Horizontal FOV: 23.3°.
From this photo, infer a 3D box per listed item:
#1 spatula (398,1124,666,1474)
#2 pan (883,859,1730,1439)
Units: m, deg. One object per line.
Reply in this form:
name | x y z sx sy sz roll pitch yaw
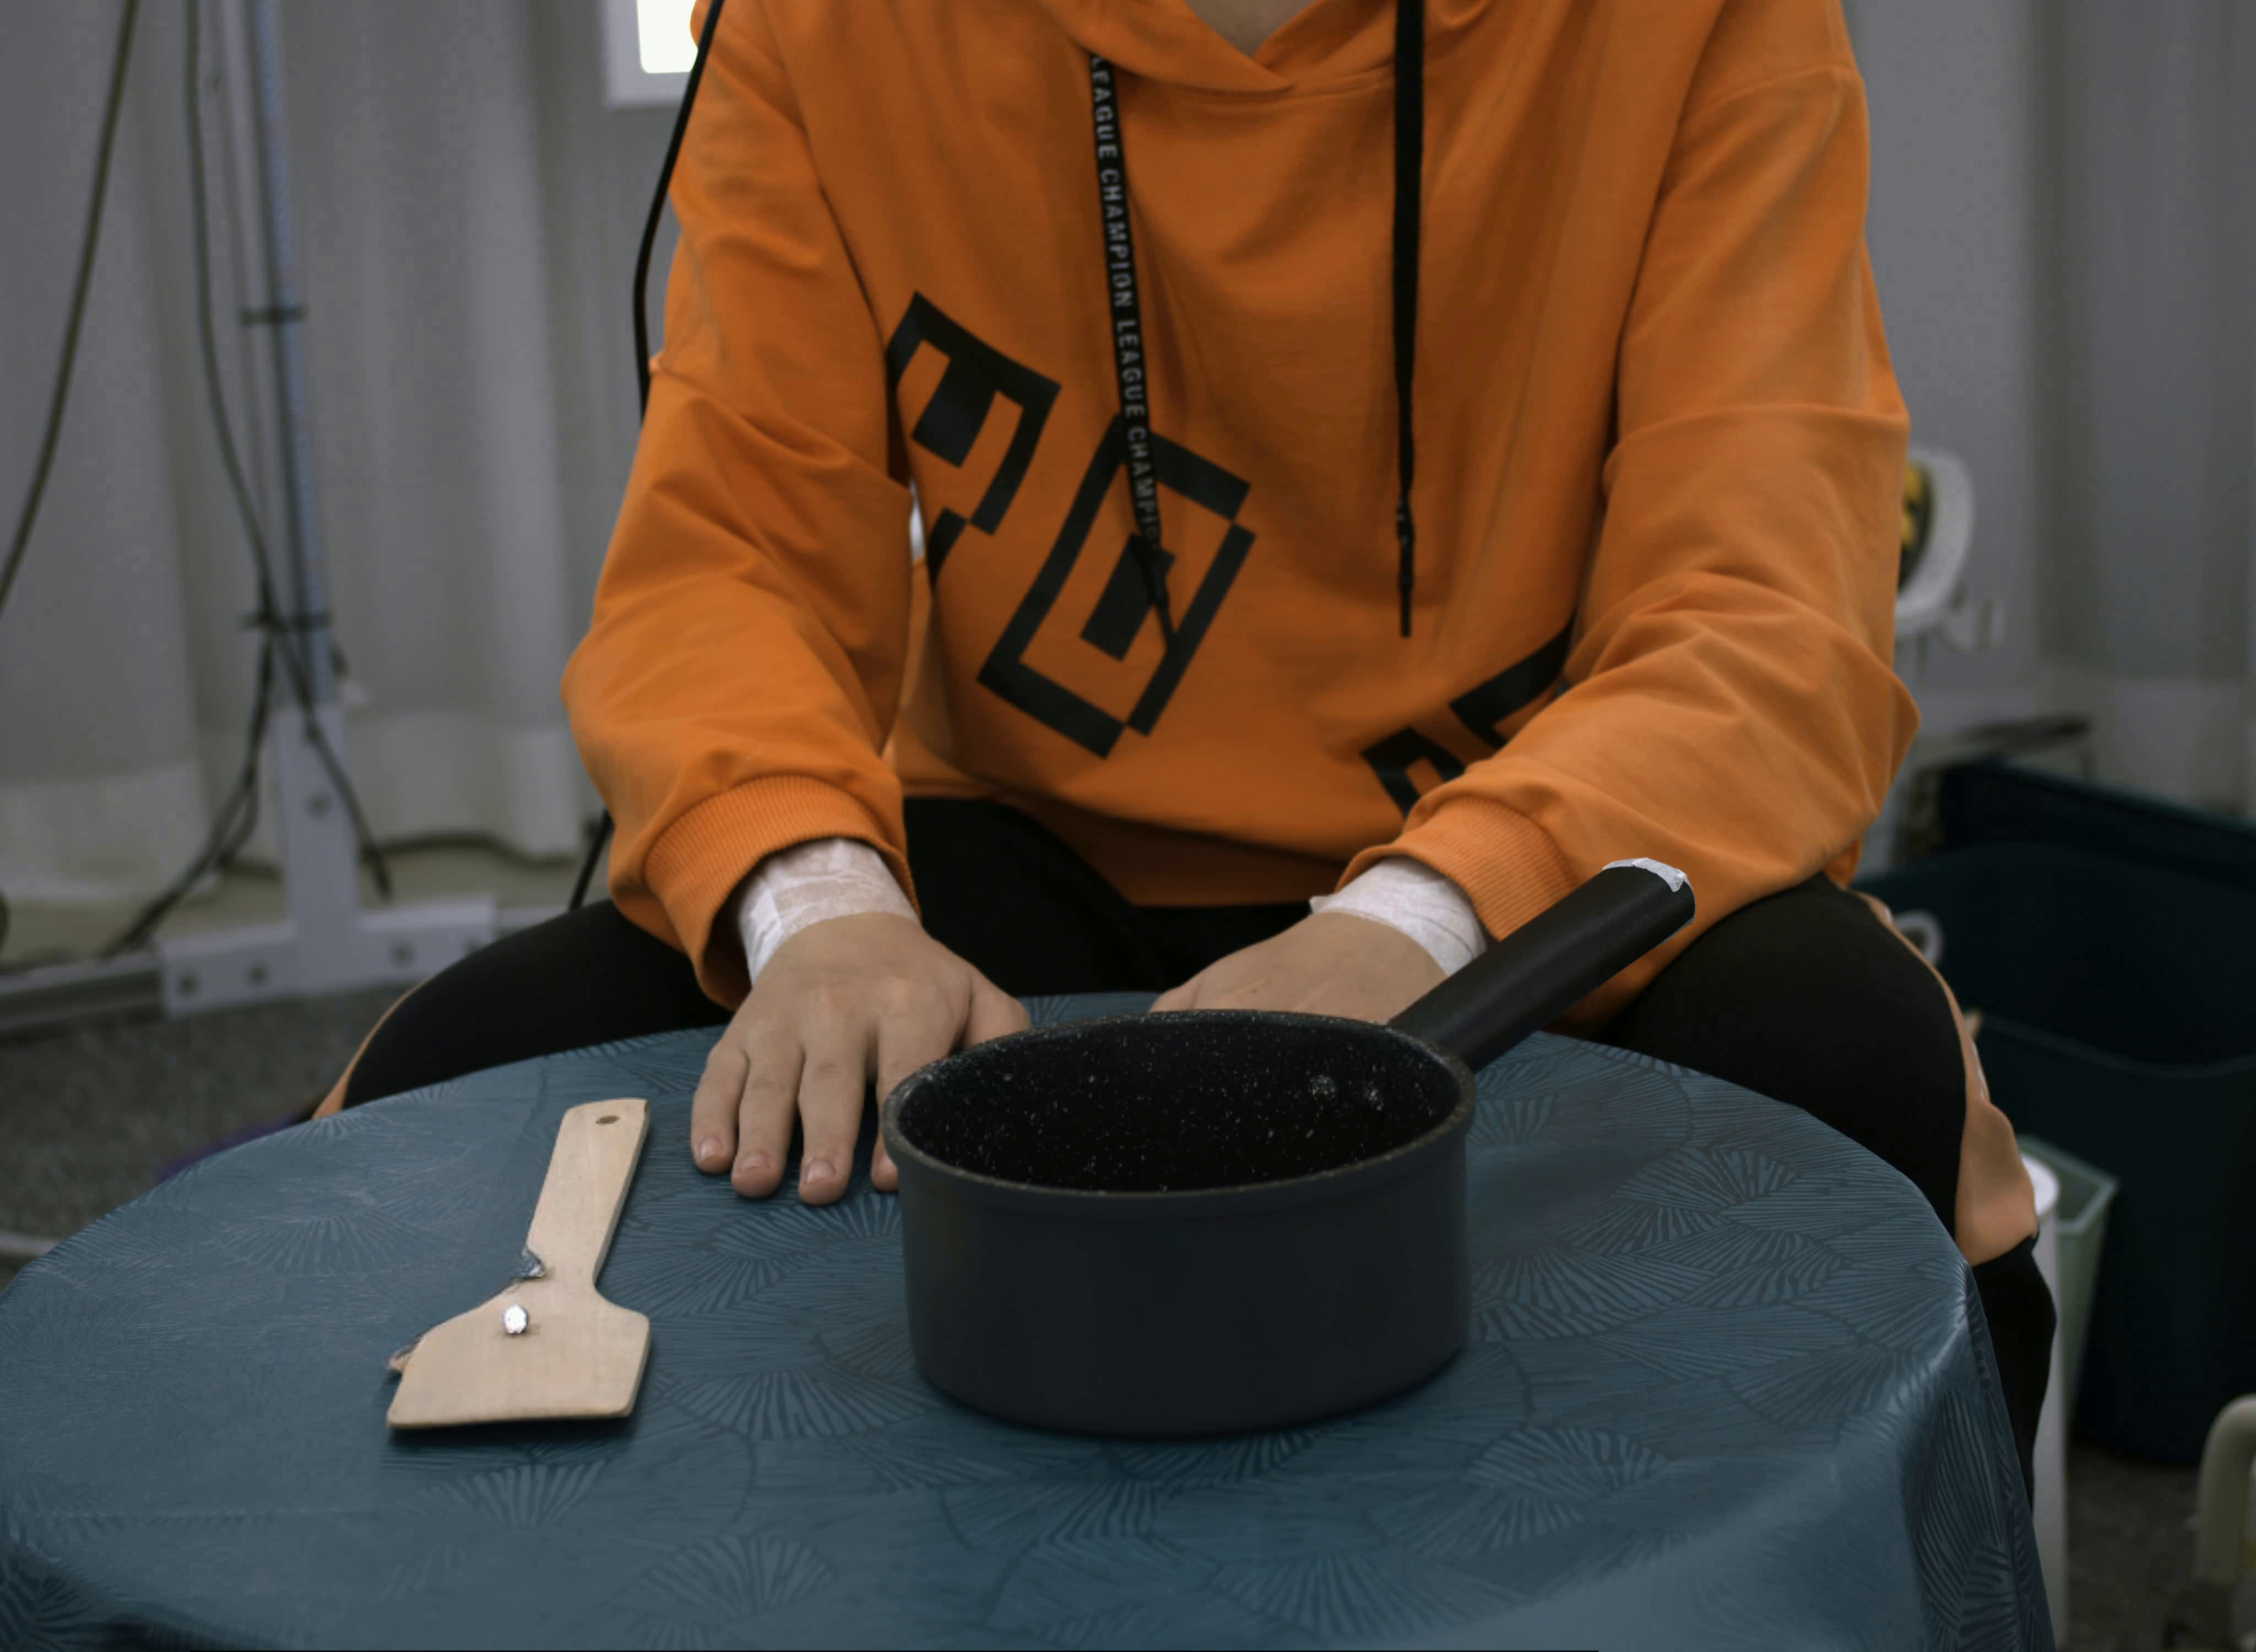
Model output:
spatula | -0.170 0.141 1.666 0.072 0.010 0.295 -5 15 2
pan | 0.069 0.092 1.626 0.173 0.086 0.328 11 22 41
